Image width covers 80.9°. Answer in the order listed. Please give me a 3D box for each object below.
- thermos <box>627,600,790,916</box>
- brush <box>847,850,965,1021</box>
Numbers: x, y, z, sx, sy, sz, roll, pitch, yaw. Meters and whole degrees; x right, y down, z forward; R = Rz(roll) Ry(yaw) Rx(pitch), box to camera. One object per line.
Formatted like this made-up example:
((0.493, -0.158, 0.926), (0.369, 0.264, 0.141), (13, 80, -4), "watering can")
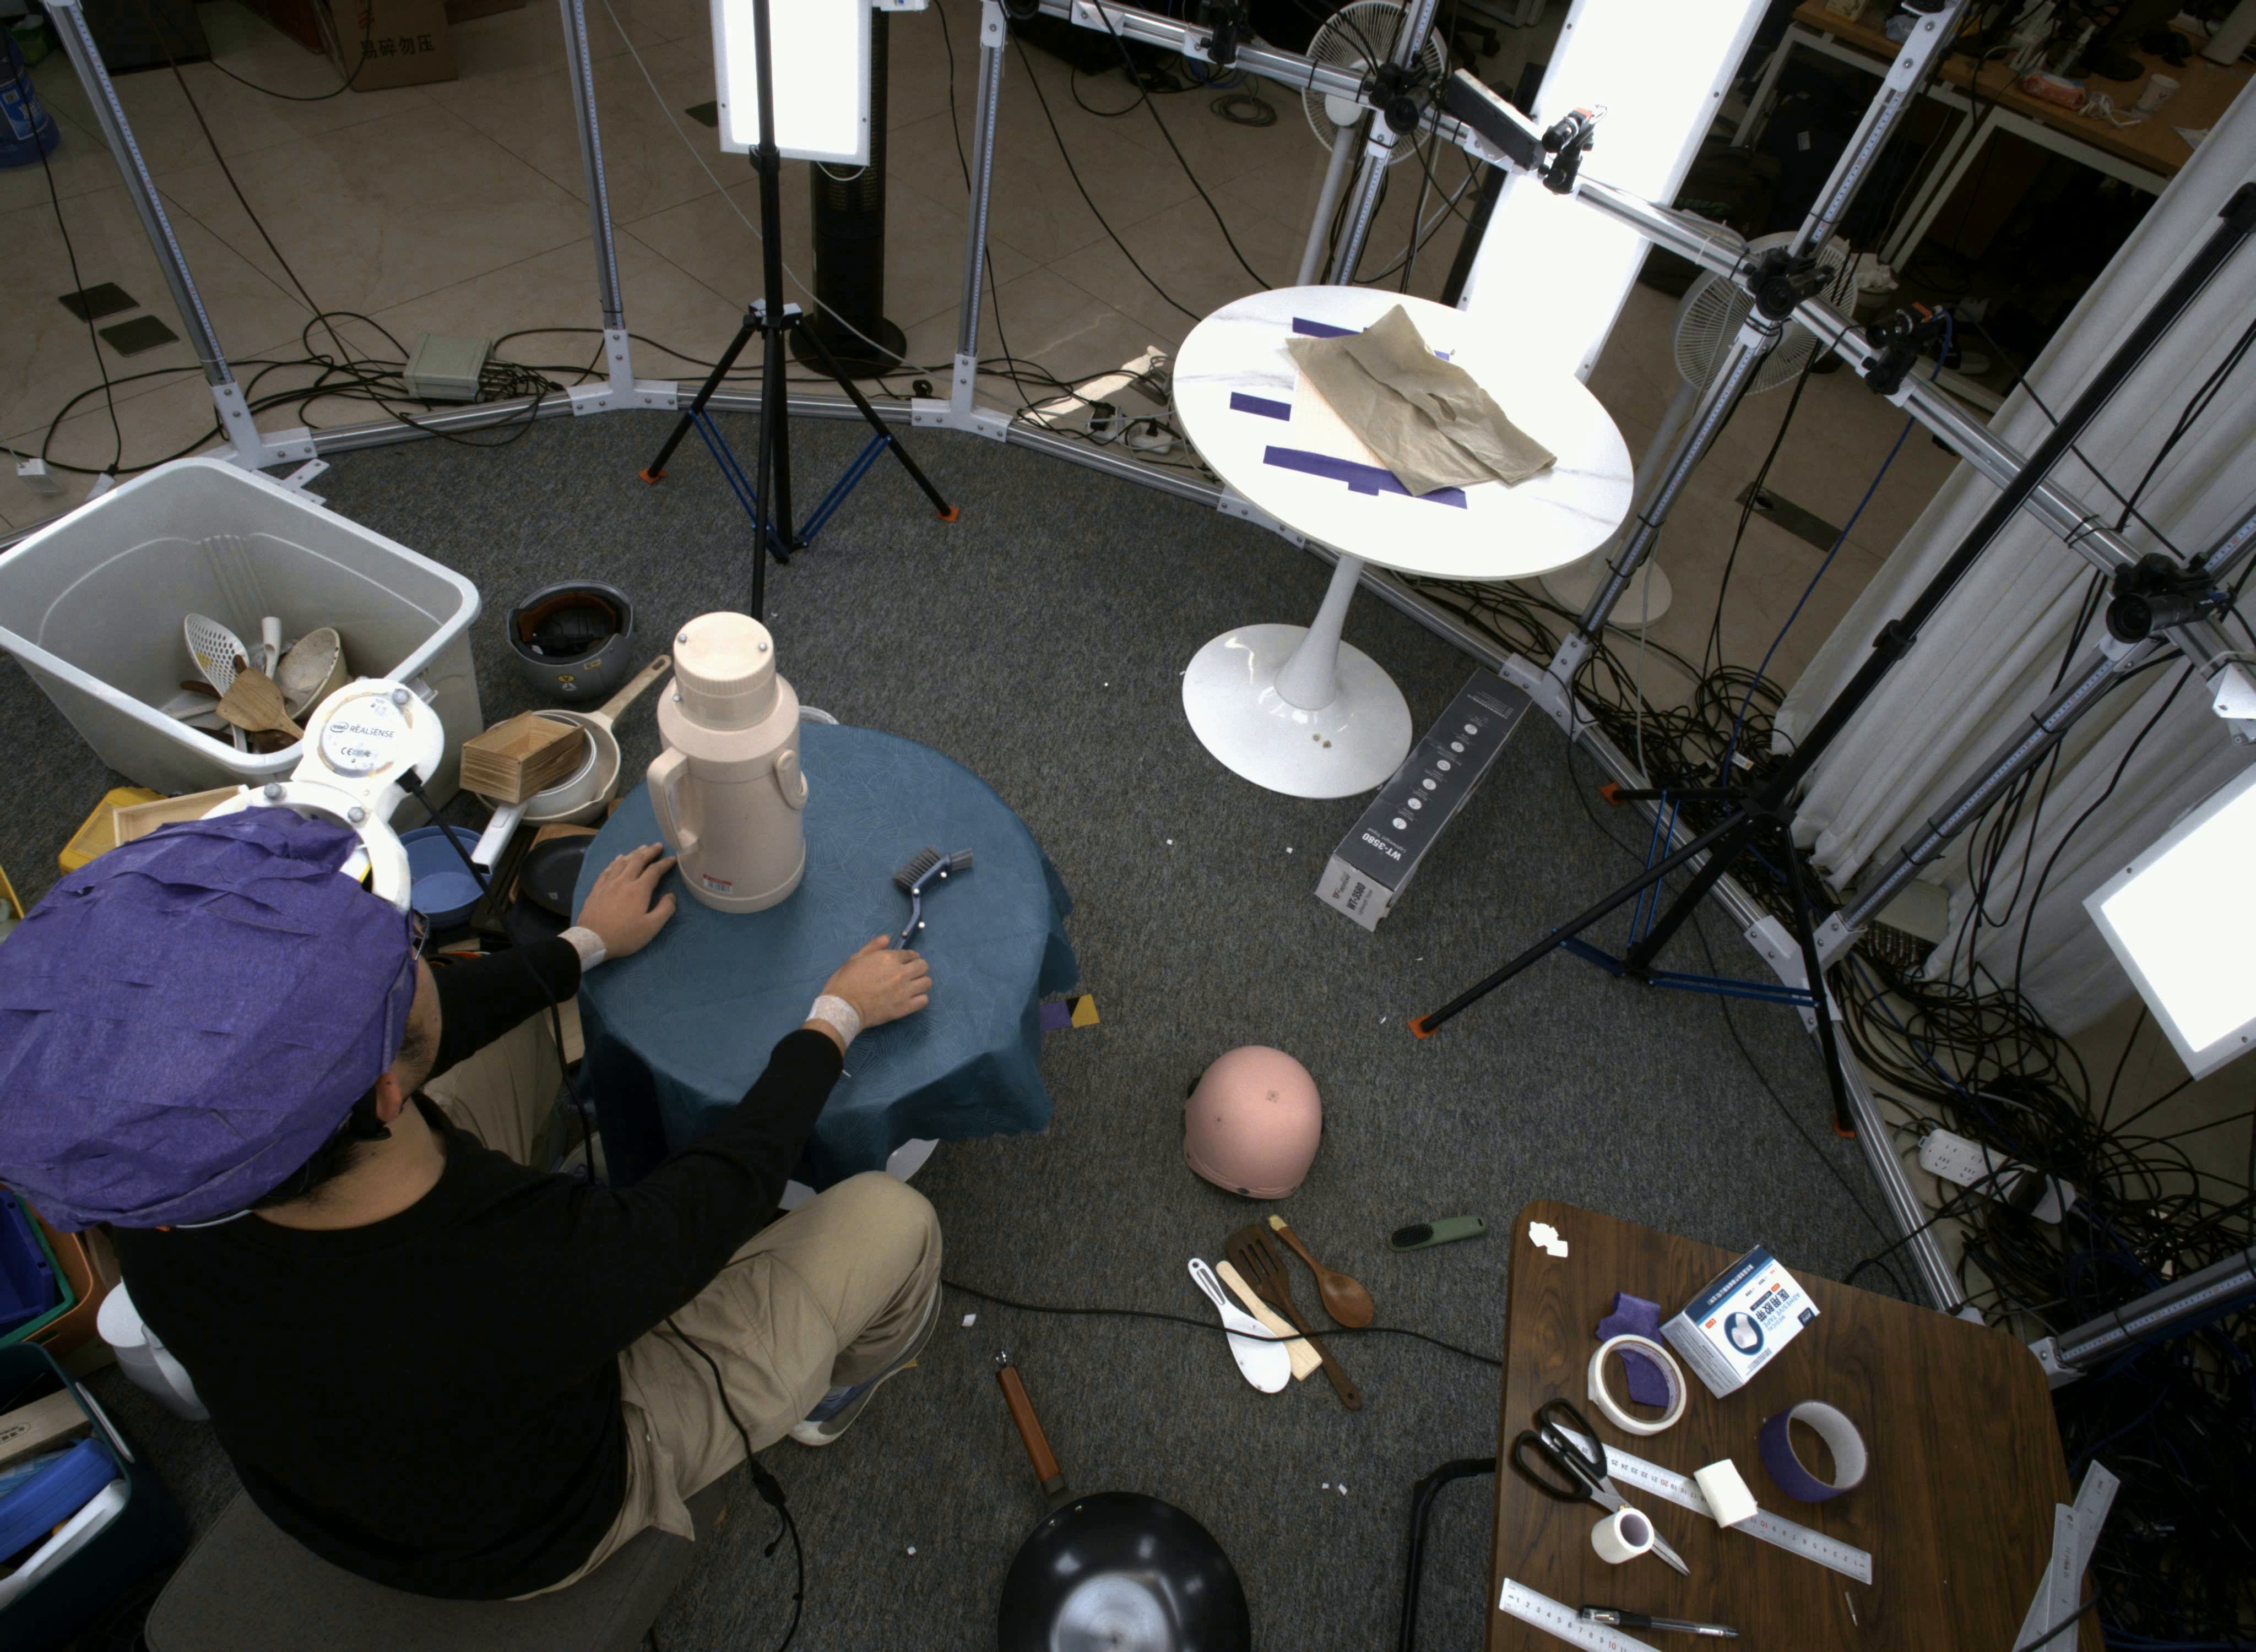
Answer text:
((-0.491, -0.067, 1.494), (0.172, 0.414, 0.206), (31, 52, 11), "thermos")
((-0.282, 0.130, 1.637), (0.095, 0.034, 0.269), (14, 49, -2), "brush")
